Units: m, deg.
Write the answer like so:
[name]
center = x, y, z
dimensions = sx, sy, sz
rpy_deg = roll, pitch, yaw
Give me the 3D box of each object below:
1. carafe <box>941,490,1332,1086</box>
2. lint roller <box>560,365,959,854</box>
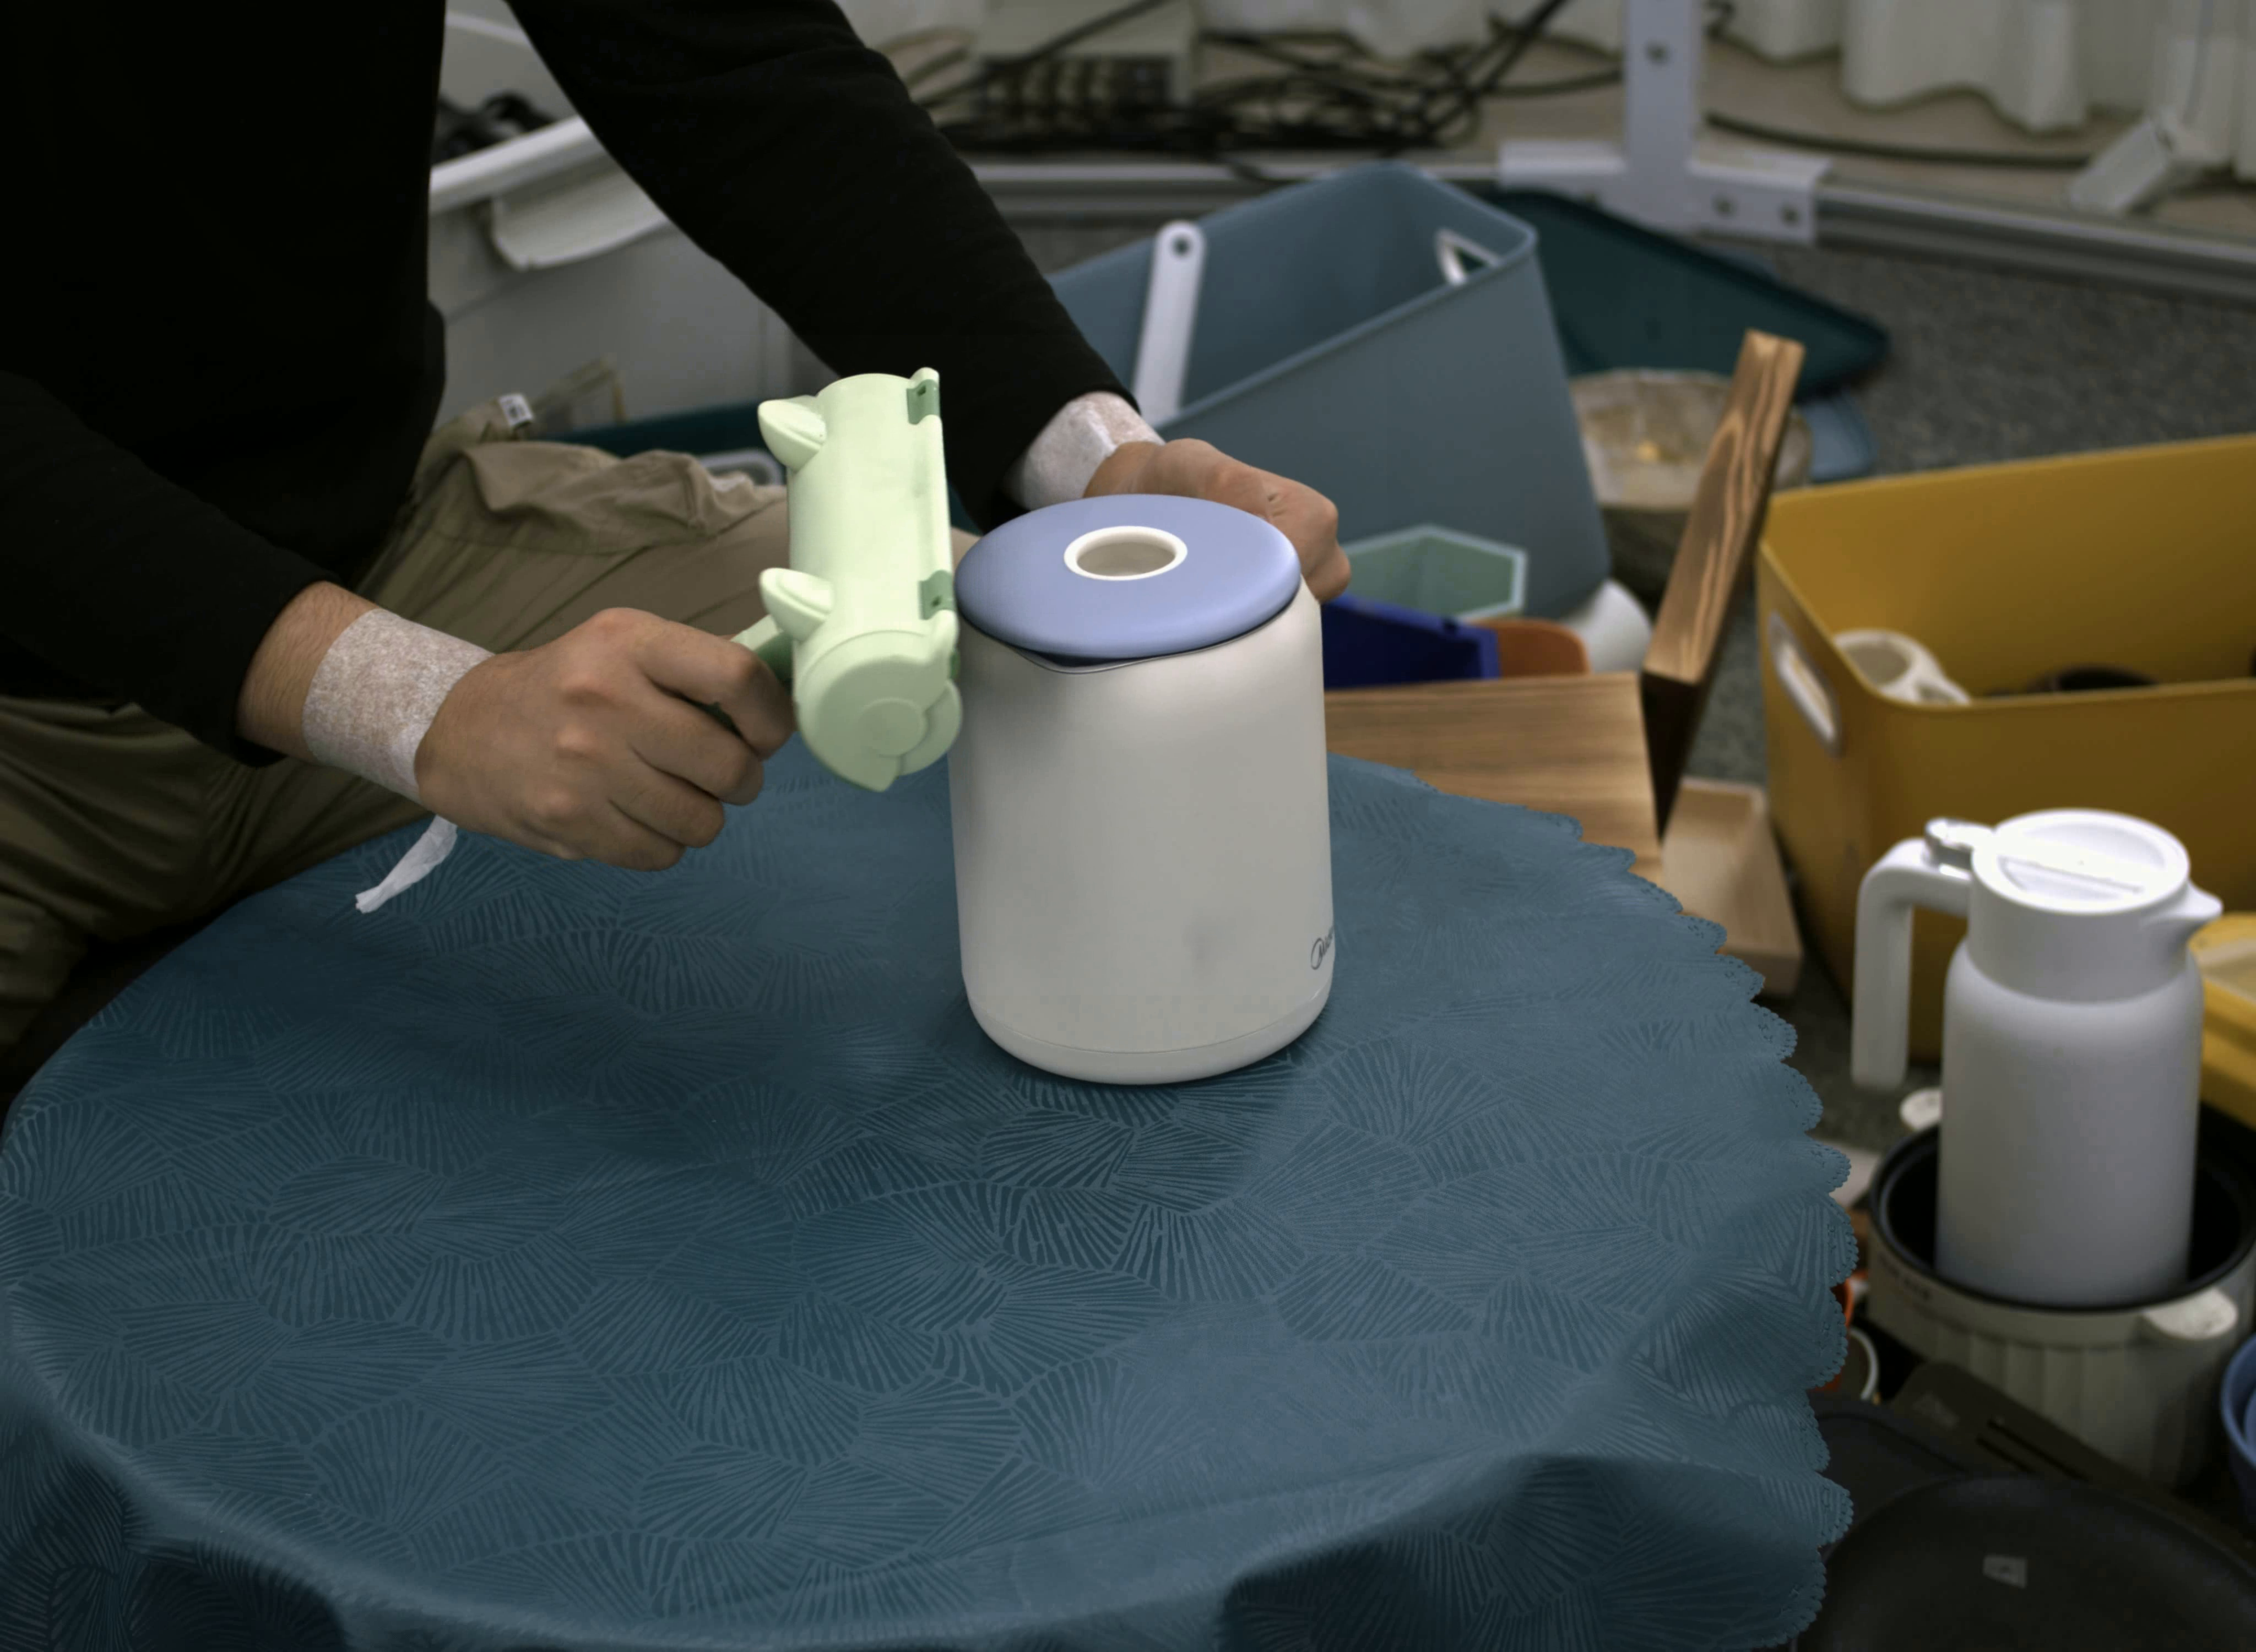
[carafe]
center = 0.010, -0.025, 1.958
dimensions = 0.131, 0.181, 0.194
rpy_deg = 5, 26, 14
[lint roller]
center = -0.135, -0.063, 1.885
dimensions = 0.181, 0.081, 0.202
rpy_deg = -32, 27, 14
